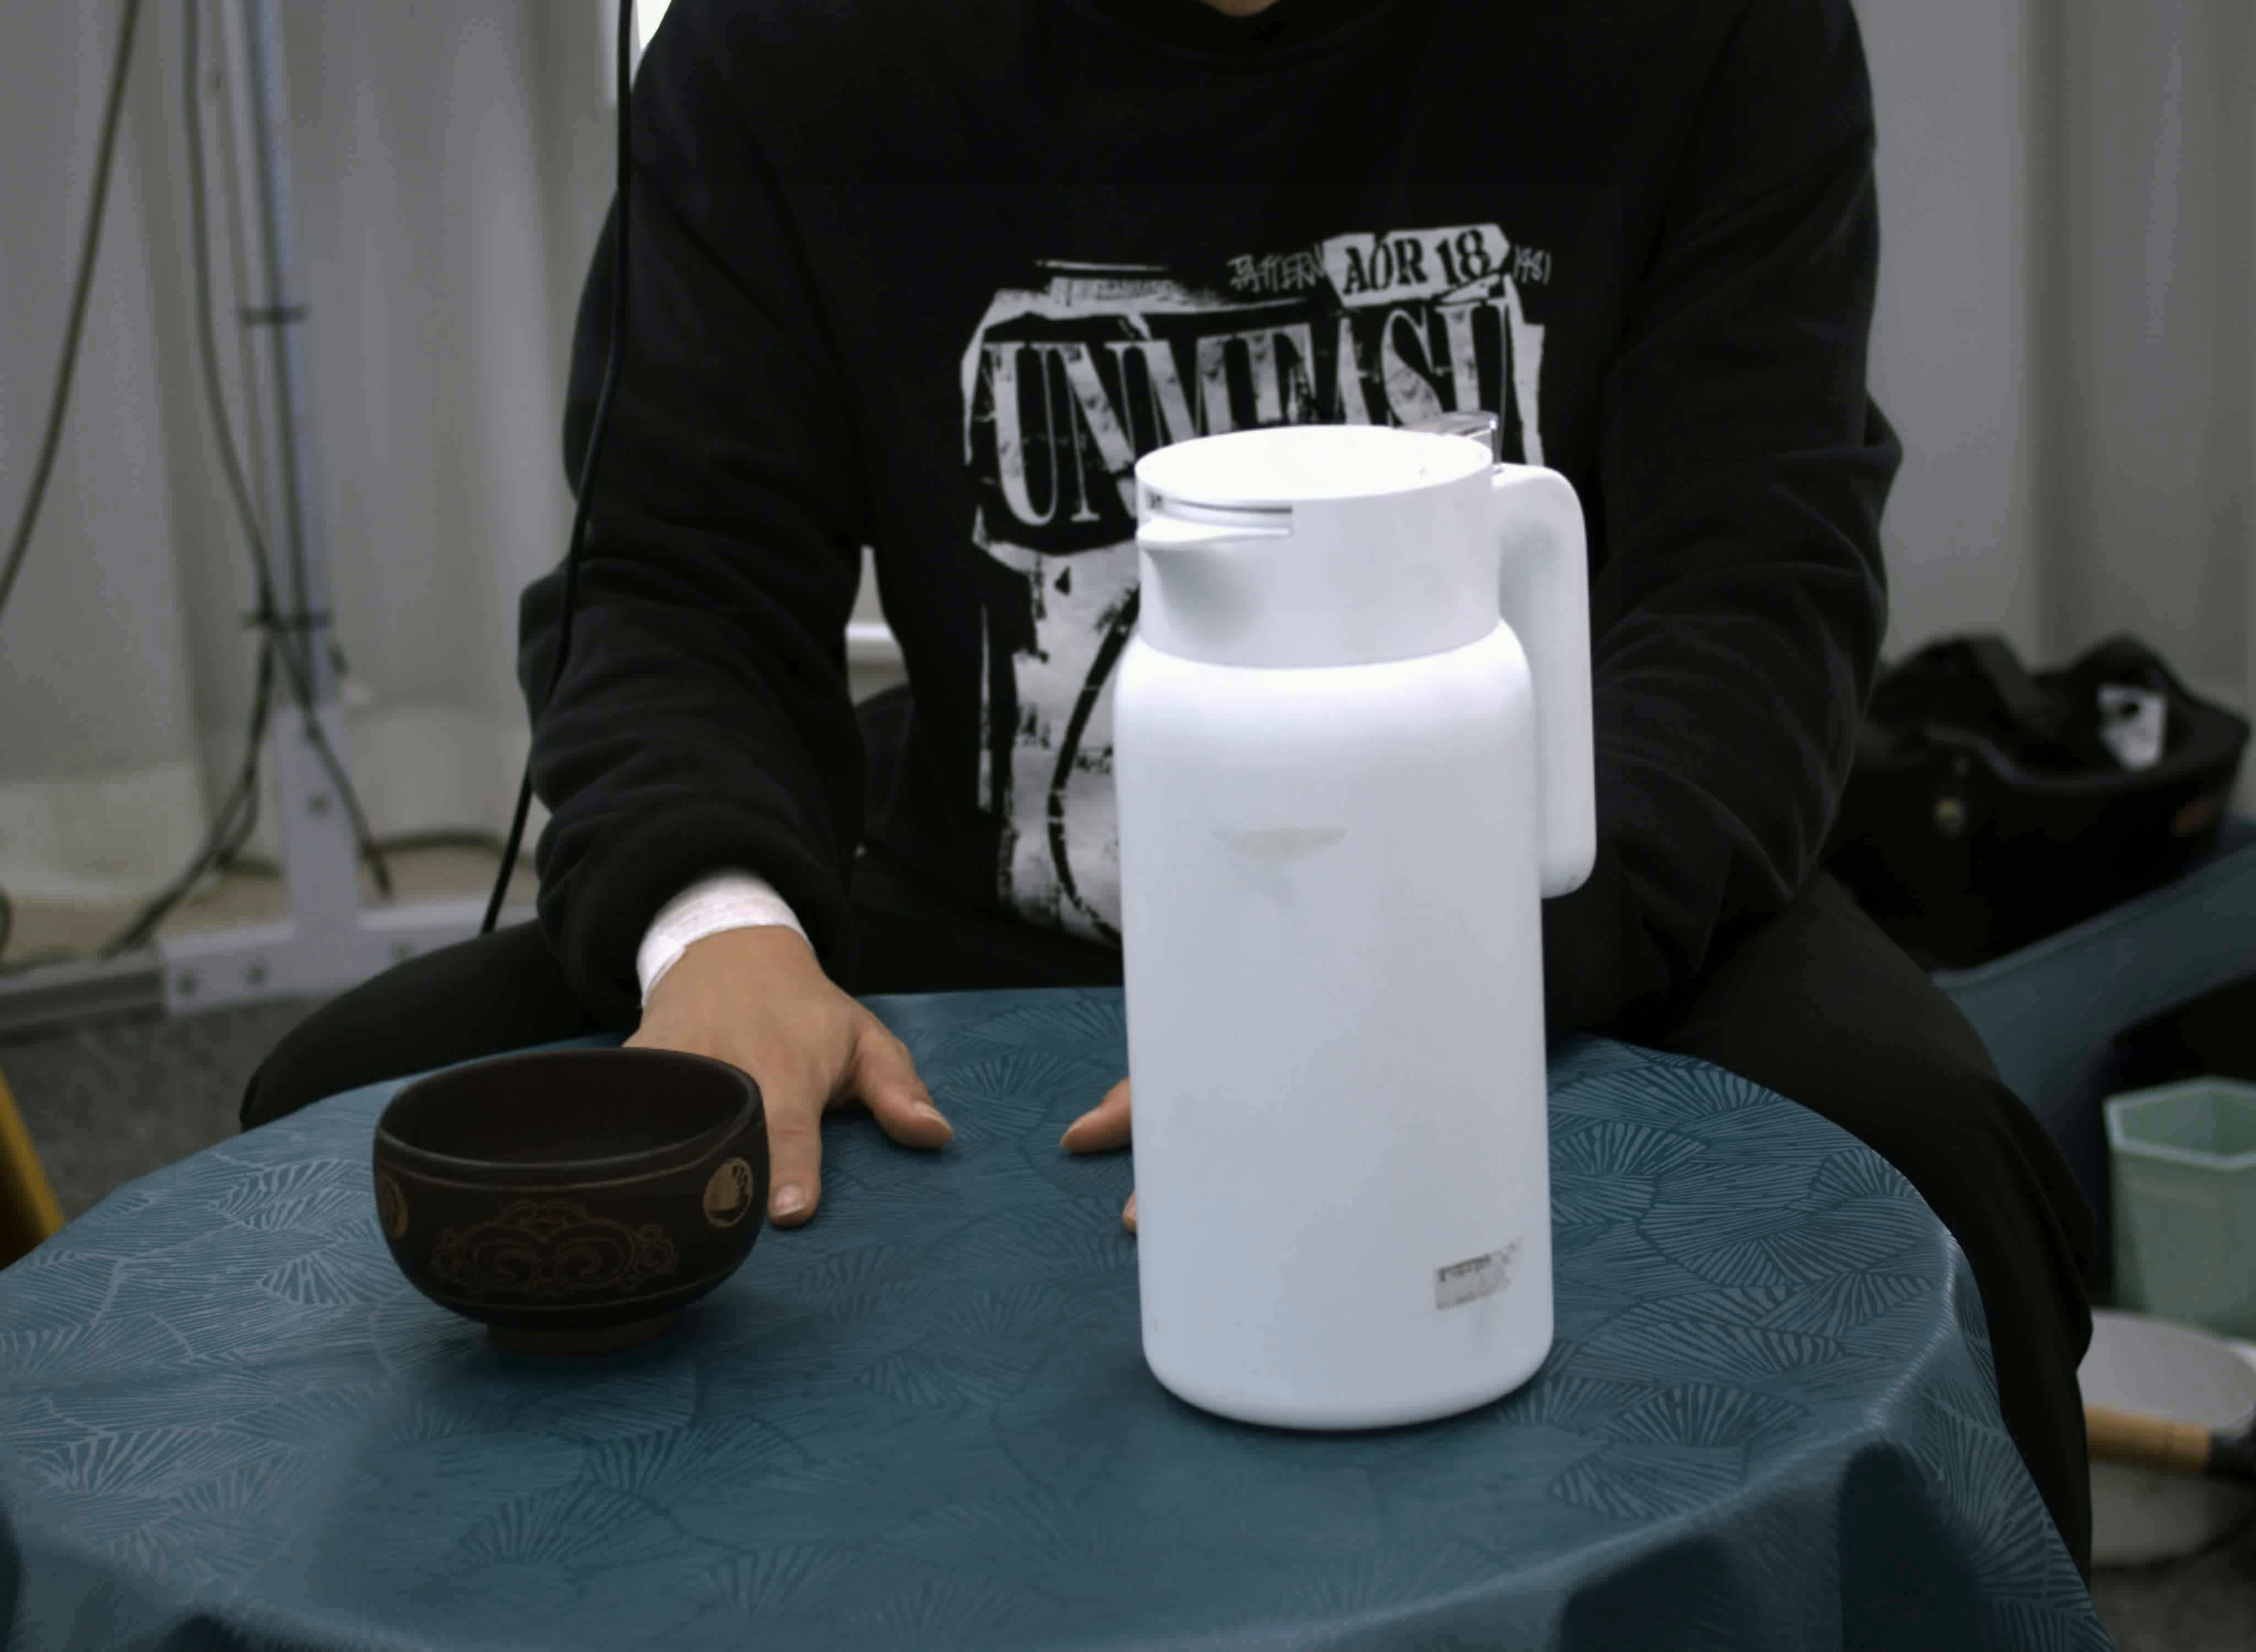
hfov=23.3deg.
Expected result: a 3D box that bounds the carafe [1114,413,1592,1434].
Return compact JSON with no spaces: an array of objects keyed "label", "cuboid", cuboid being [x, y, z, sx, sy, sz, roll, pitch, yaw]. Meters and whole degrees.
[{"label":"carafe","cuboid":[0.067,0.022,1.534,0.124,0.268,0.172,6,16,40]}]

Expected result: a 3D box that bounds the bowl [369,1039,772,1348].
[{"label":"bowl","cuboid":[-0.163,0.112,1.612,0.117,0.069,0.119,-3,14,0]}]
